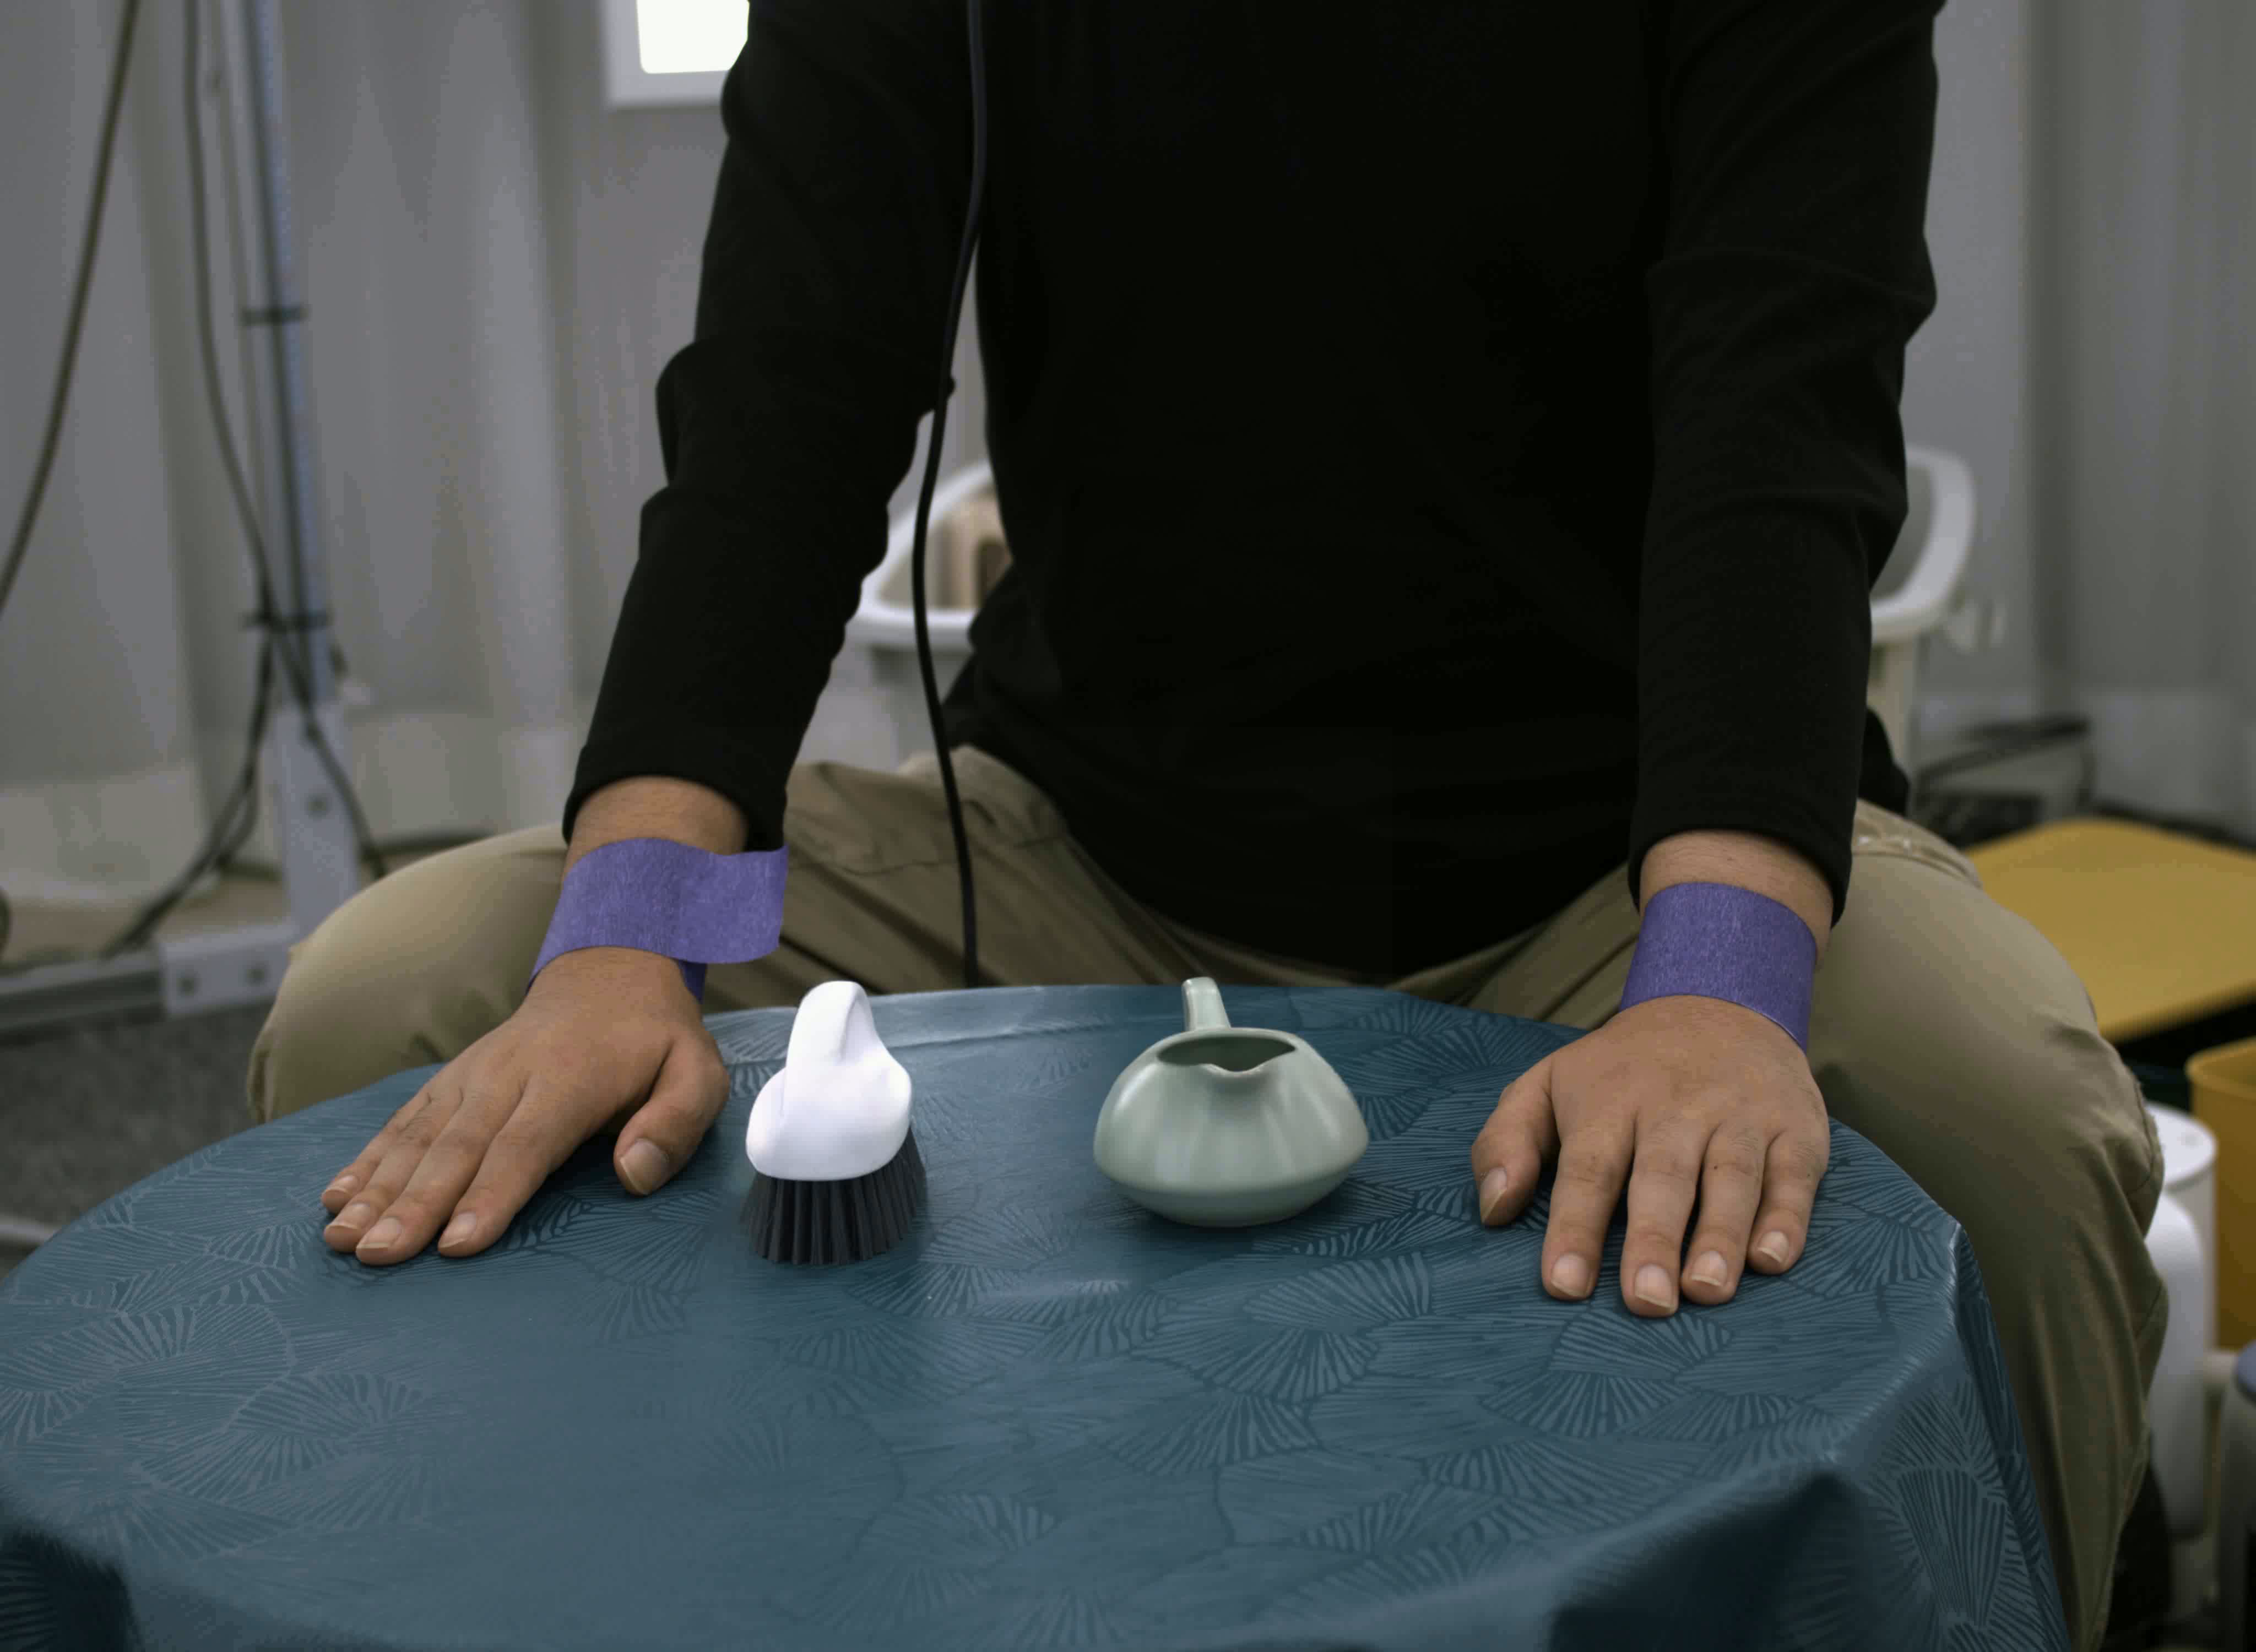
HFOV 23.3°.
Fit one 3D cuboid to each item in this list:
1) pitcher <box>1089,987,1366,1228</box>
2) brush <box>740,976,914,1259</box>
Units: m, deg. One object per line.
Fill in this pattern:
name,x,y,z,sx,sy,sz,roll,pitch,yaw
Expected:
pitcher,0.028,0.088,1.703,0.085,0.060,0.108,-5,12,-8
brush,-0.094,0.085,1.700,0.050,0.072,0.100,0,16,5
